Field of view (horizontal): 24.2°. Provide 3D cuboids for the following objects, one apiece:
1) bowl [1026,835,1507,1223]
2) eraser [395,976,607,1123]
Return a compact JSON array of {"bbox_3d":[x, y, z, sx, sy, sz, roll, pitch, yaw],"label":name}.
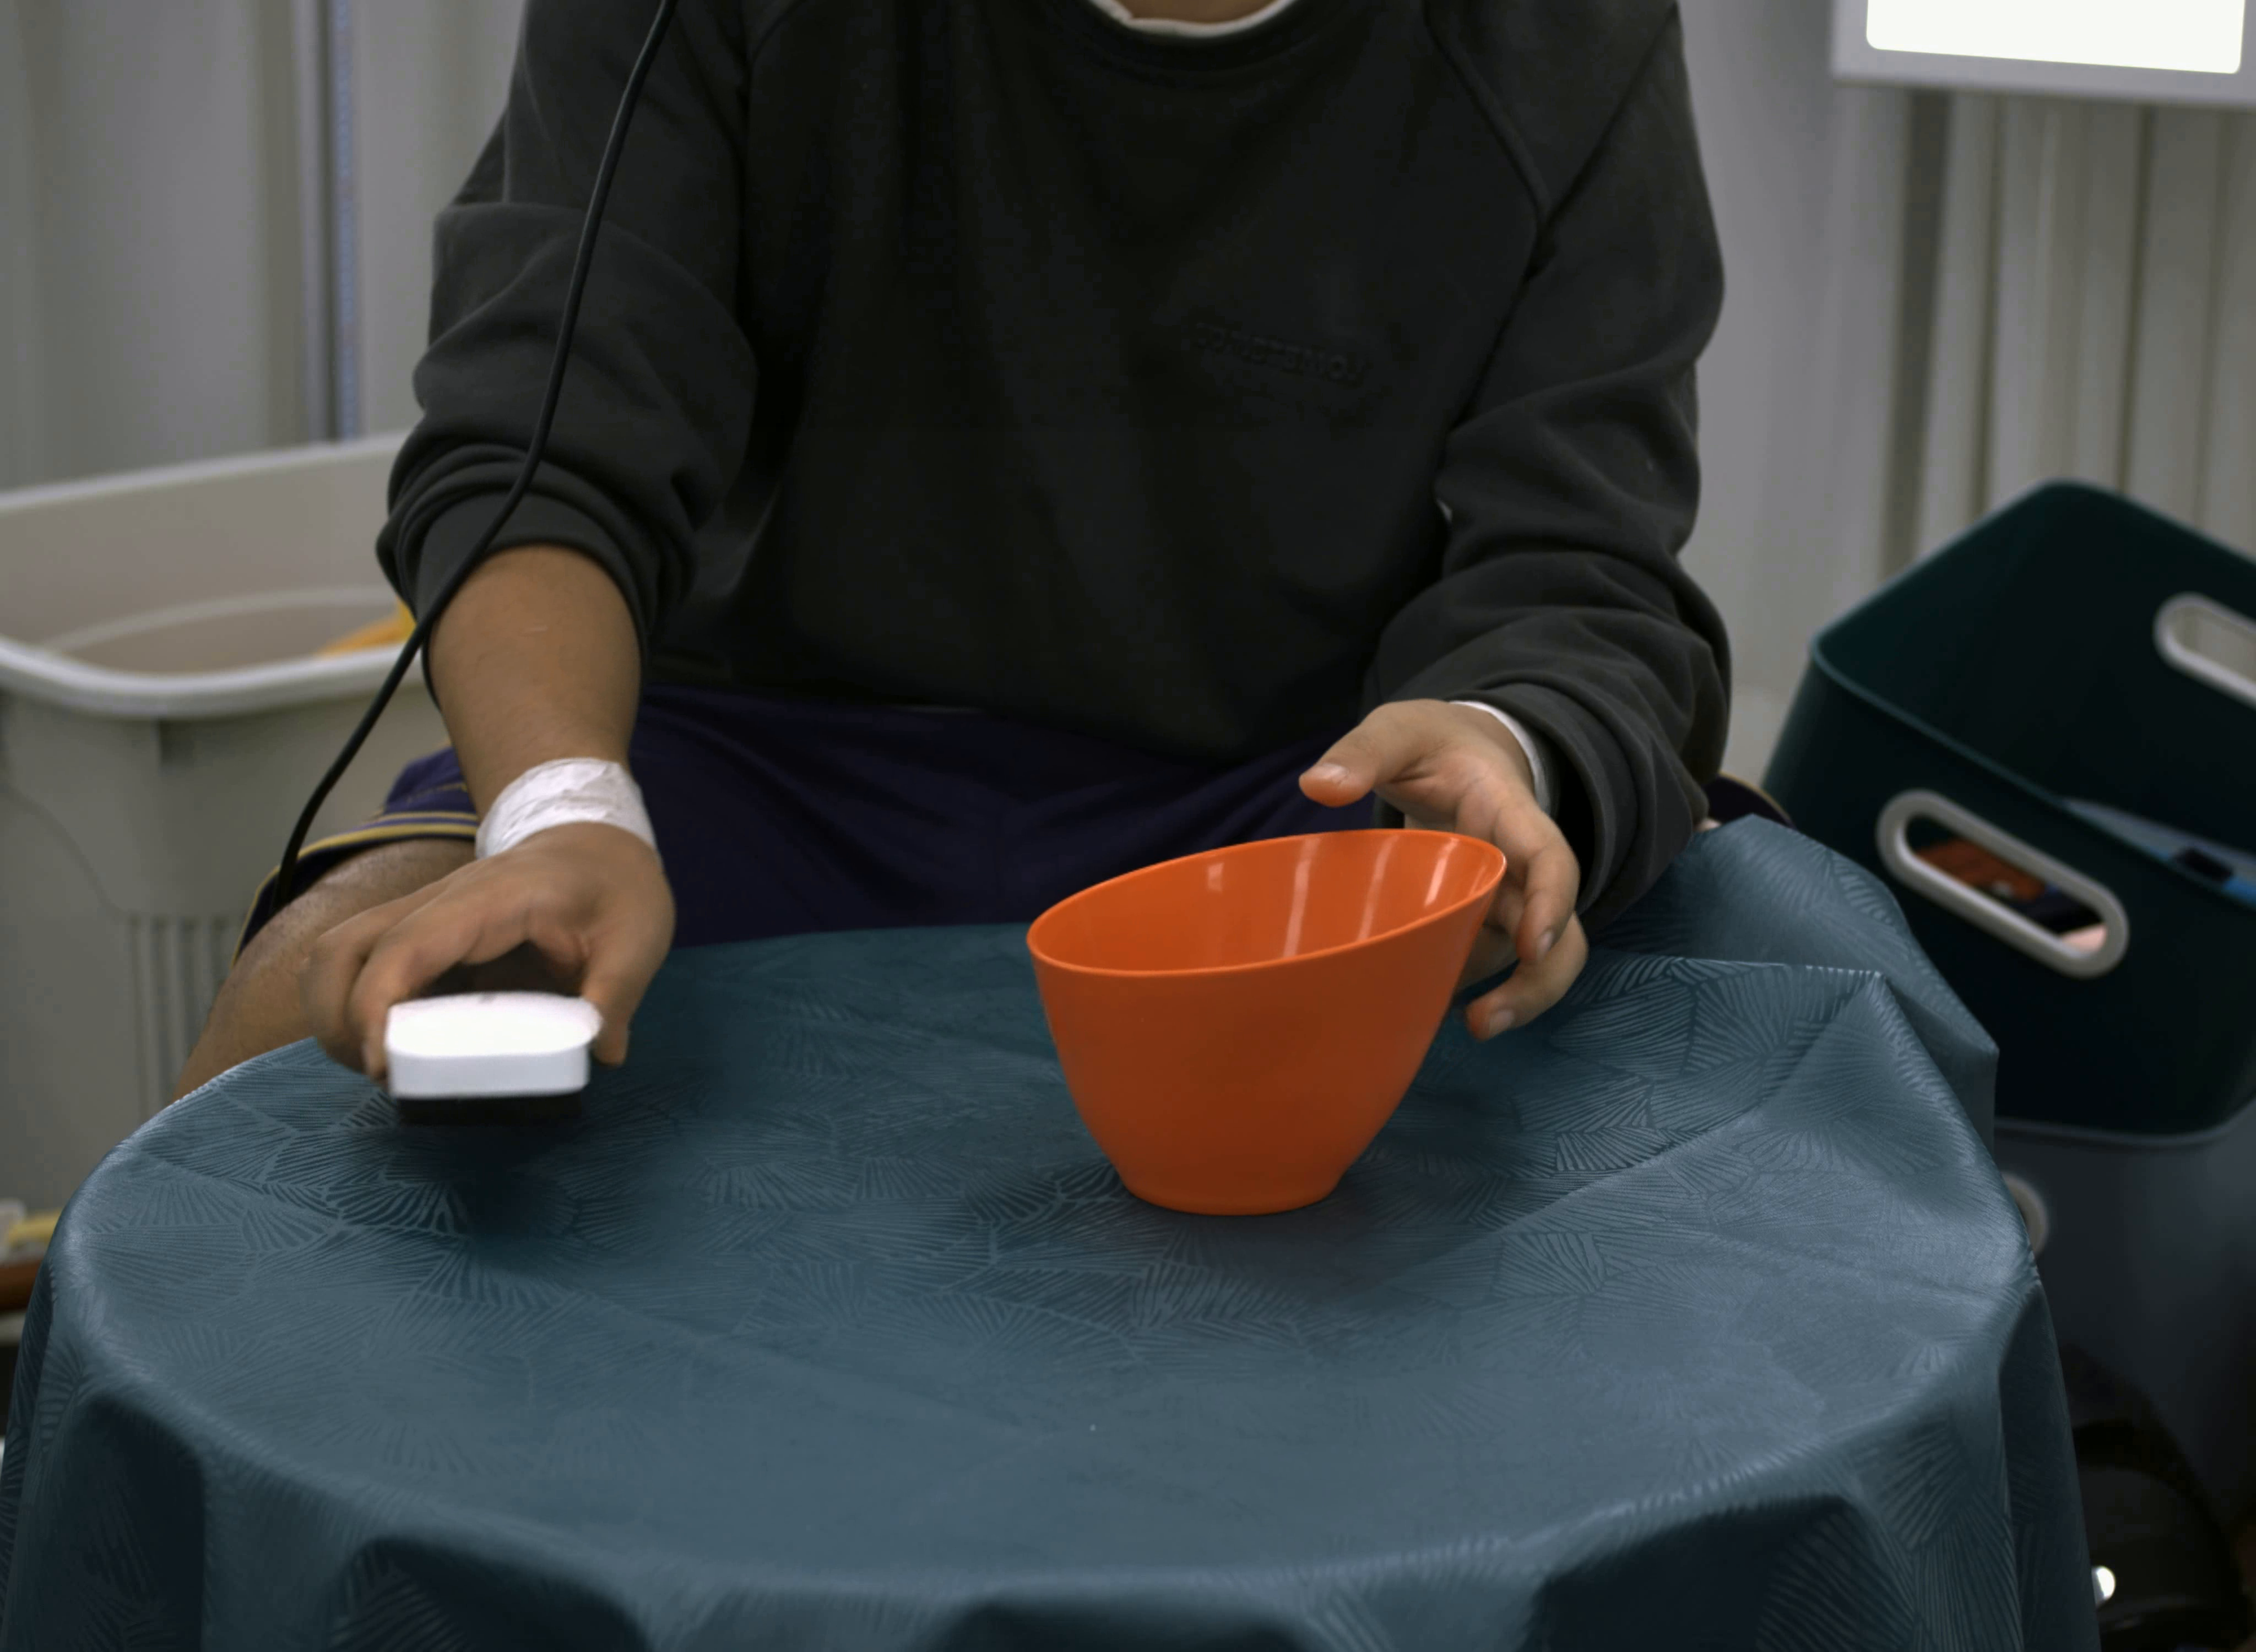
[{"bbox_3d":[0.042,0.063,1.615,0.147,0.105,0.147,0,16,1],"label":"bowl"},{"bbox_3d":[-0.192,0.066,1.618,0.063,0.035,0.131,-1,5,-5],"label":"eraser"}]
